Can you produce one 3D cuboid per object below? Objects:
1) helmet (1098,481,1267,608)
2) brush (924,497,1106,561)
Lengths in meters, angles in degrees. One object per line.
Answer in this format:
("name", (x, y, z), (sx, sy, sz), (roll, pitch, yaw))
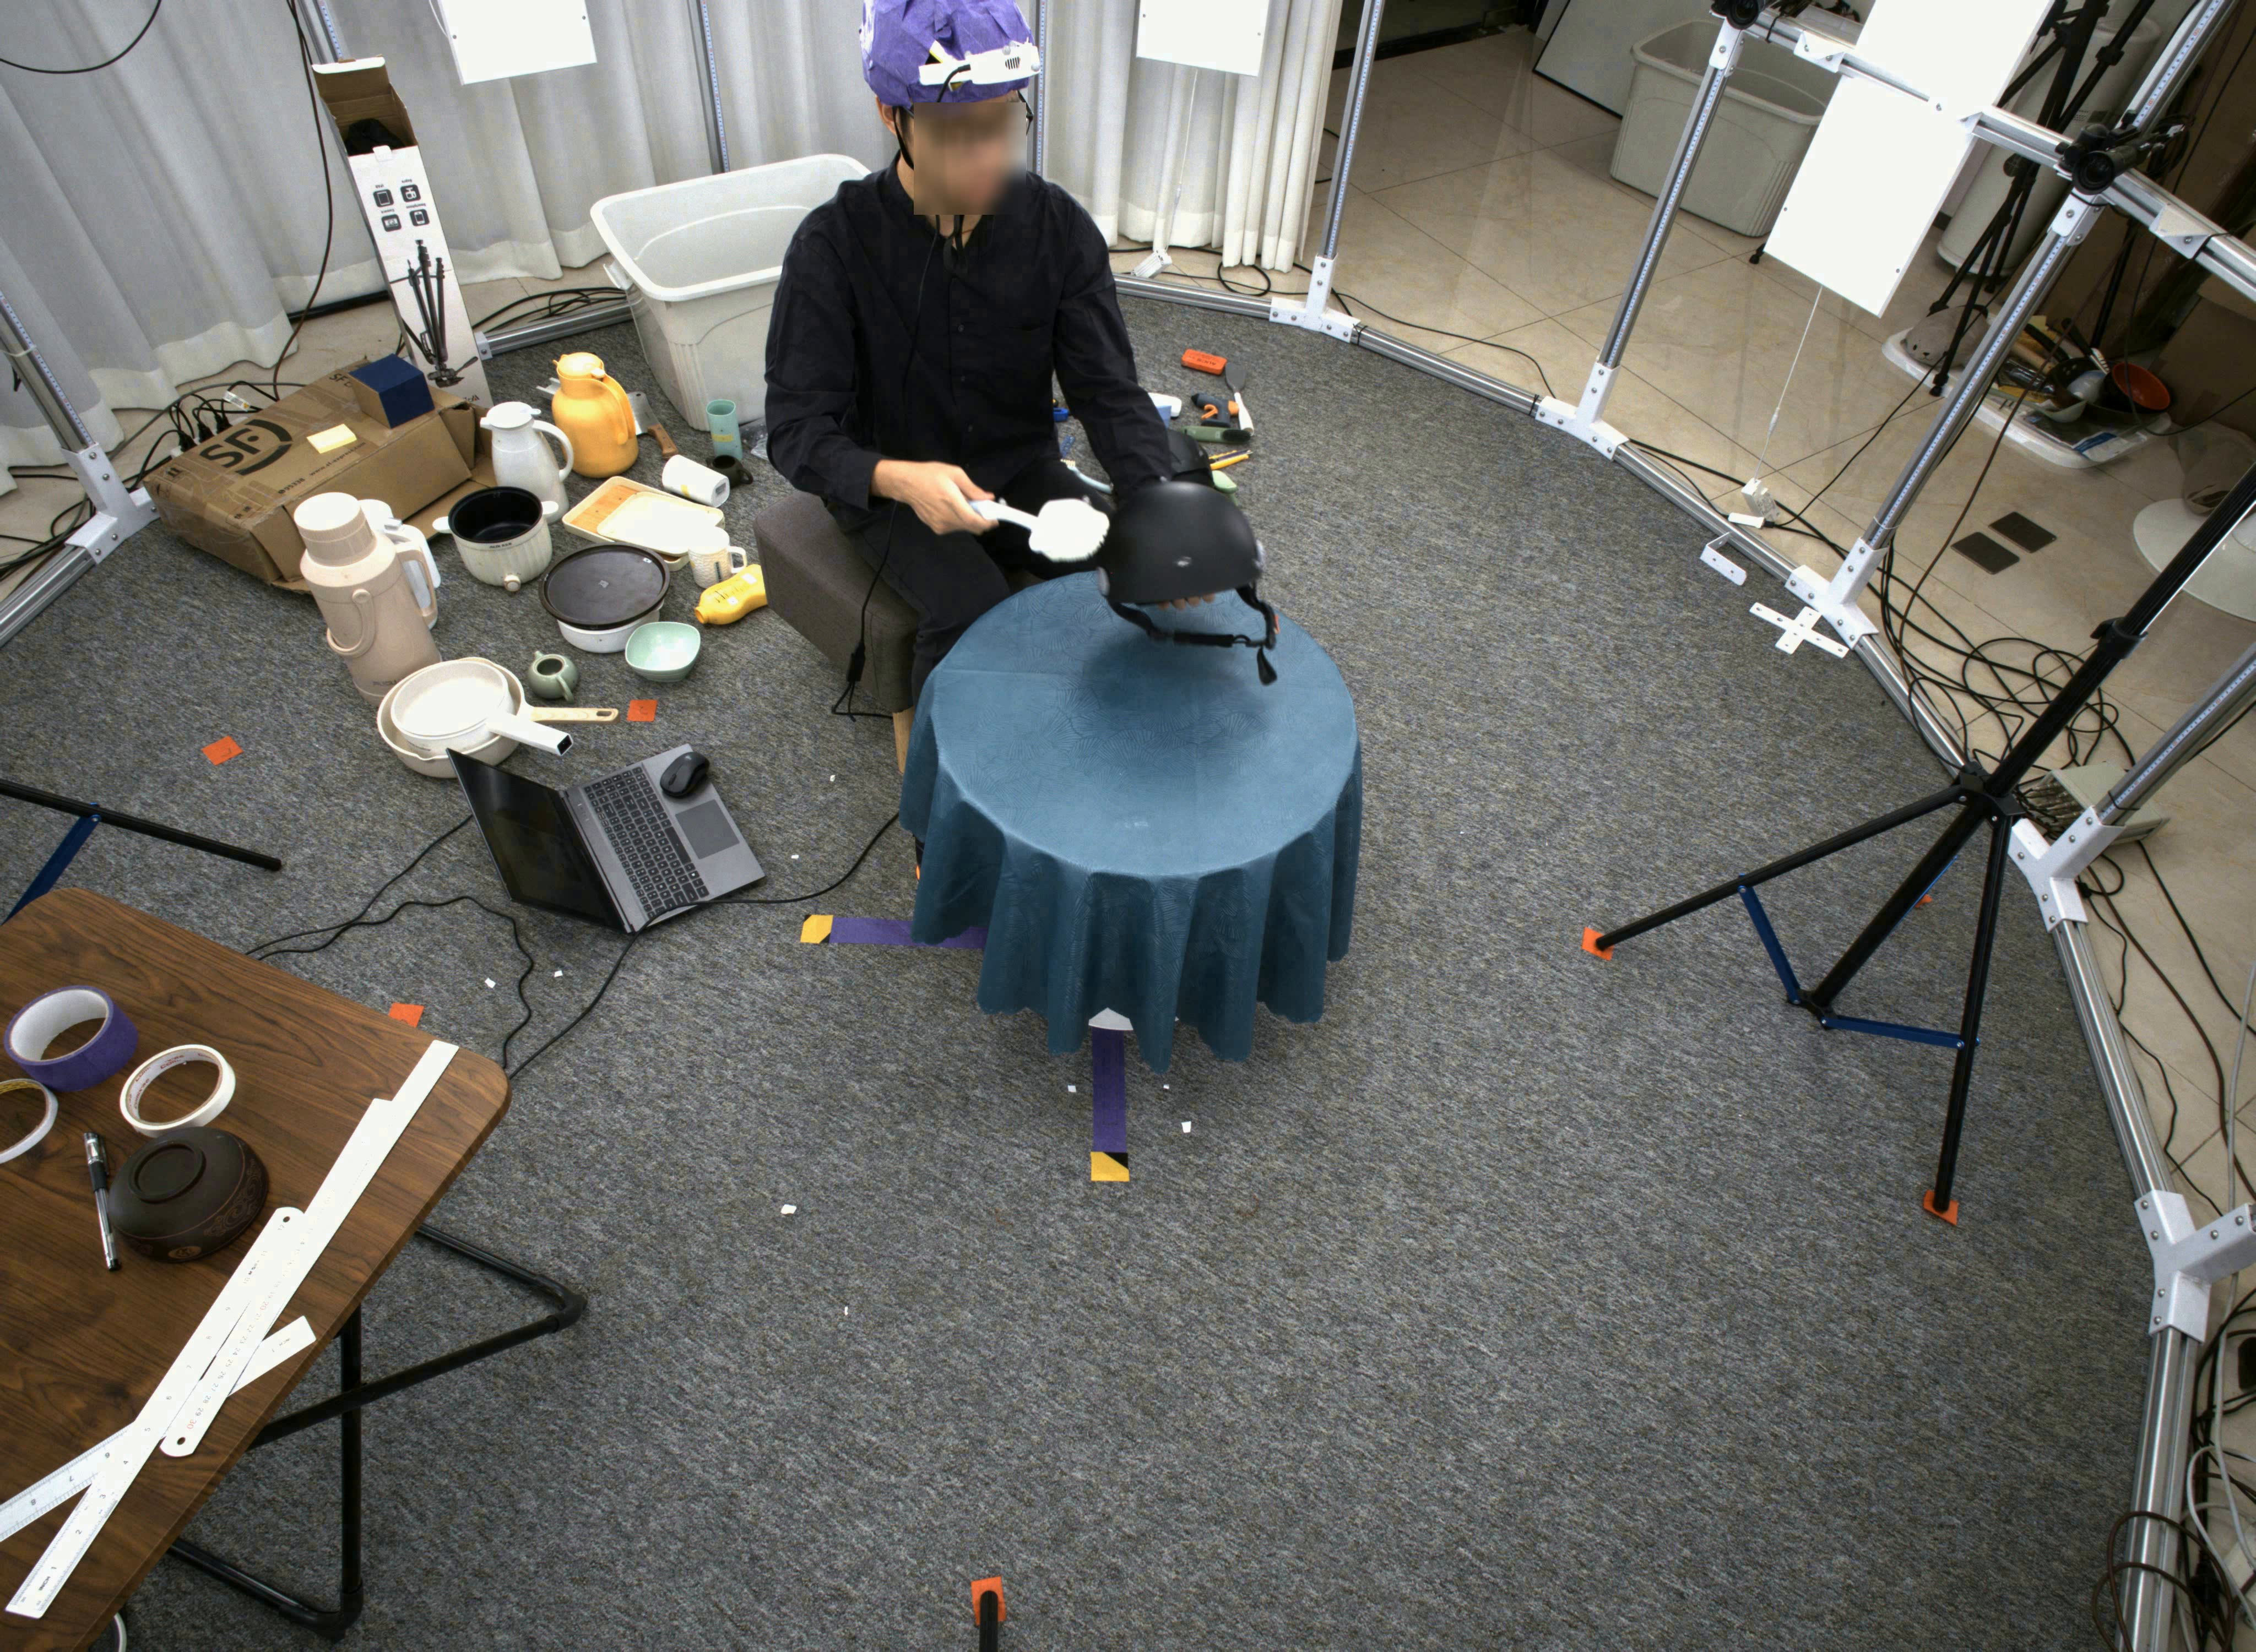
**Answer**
("helmet", (0.066, -0.386, 1.764), (0.230, 0.165, 0.275), (-11, 10, -1))
("brush", (-0.142, -0.403, 1.717), (0.329, 0.082, 0.084), (17, 49, 42))
